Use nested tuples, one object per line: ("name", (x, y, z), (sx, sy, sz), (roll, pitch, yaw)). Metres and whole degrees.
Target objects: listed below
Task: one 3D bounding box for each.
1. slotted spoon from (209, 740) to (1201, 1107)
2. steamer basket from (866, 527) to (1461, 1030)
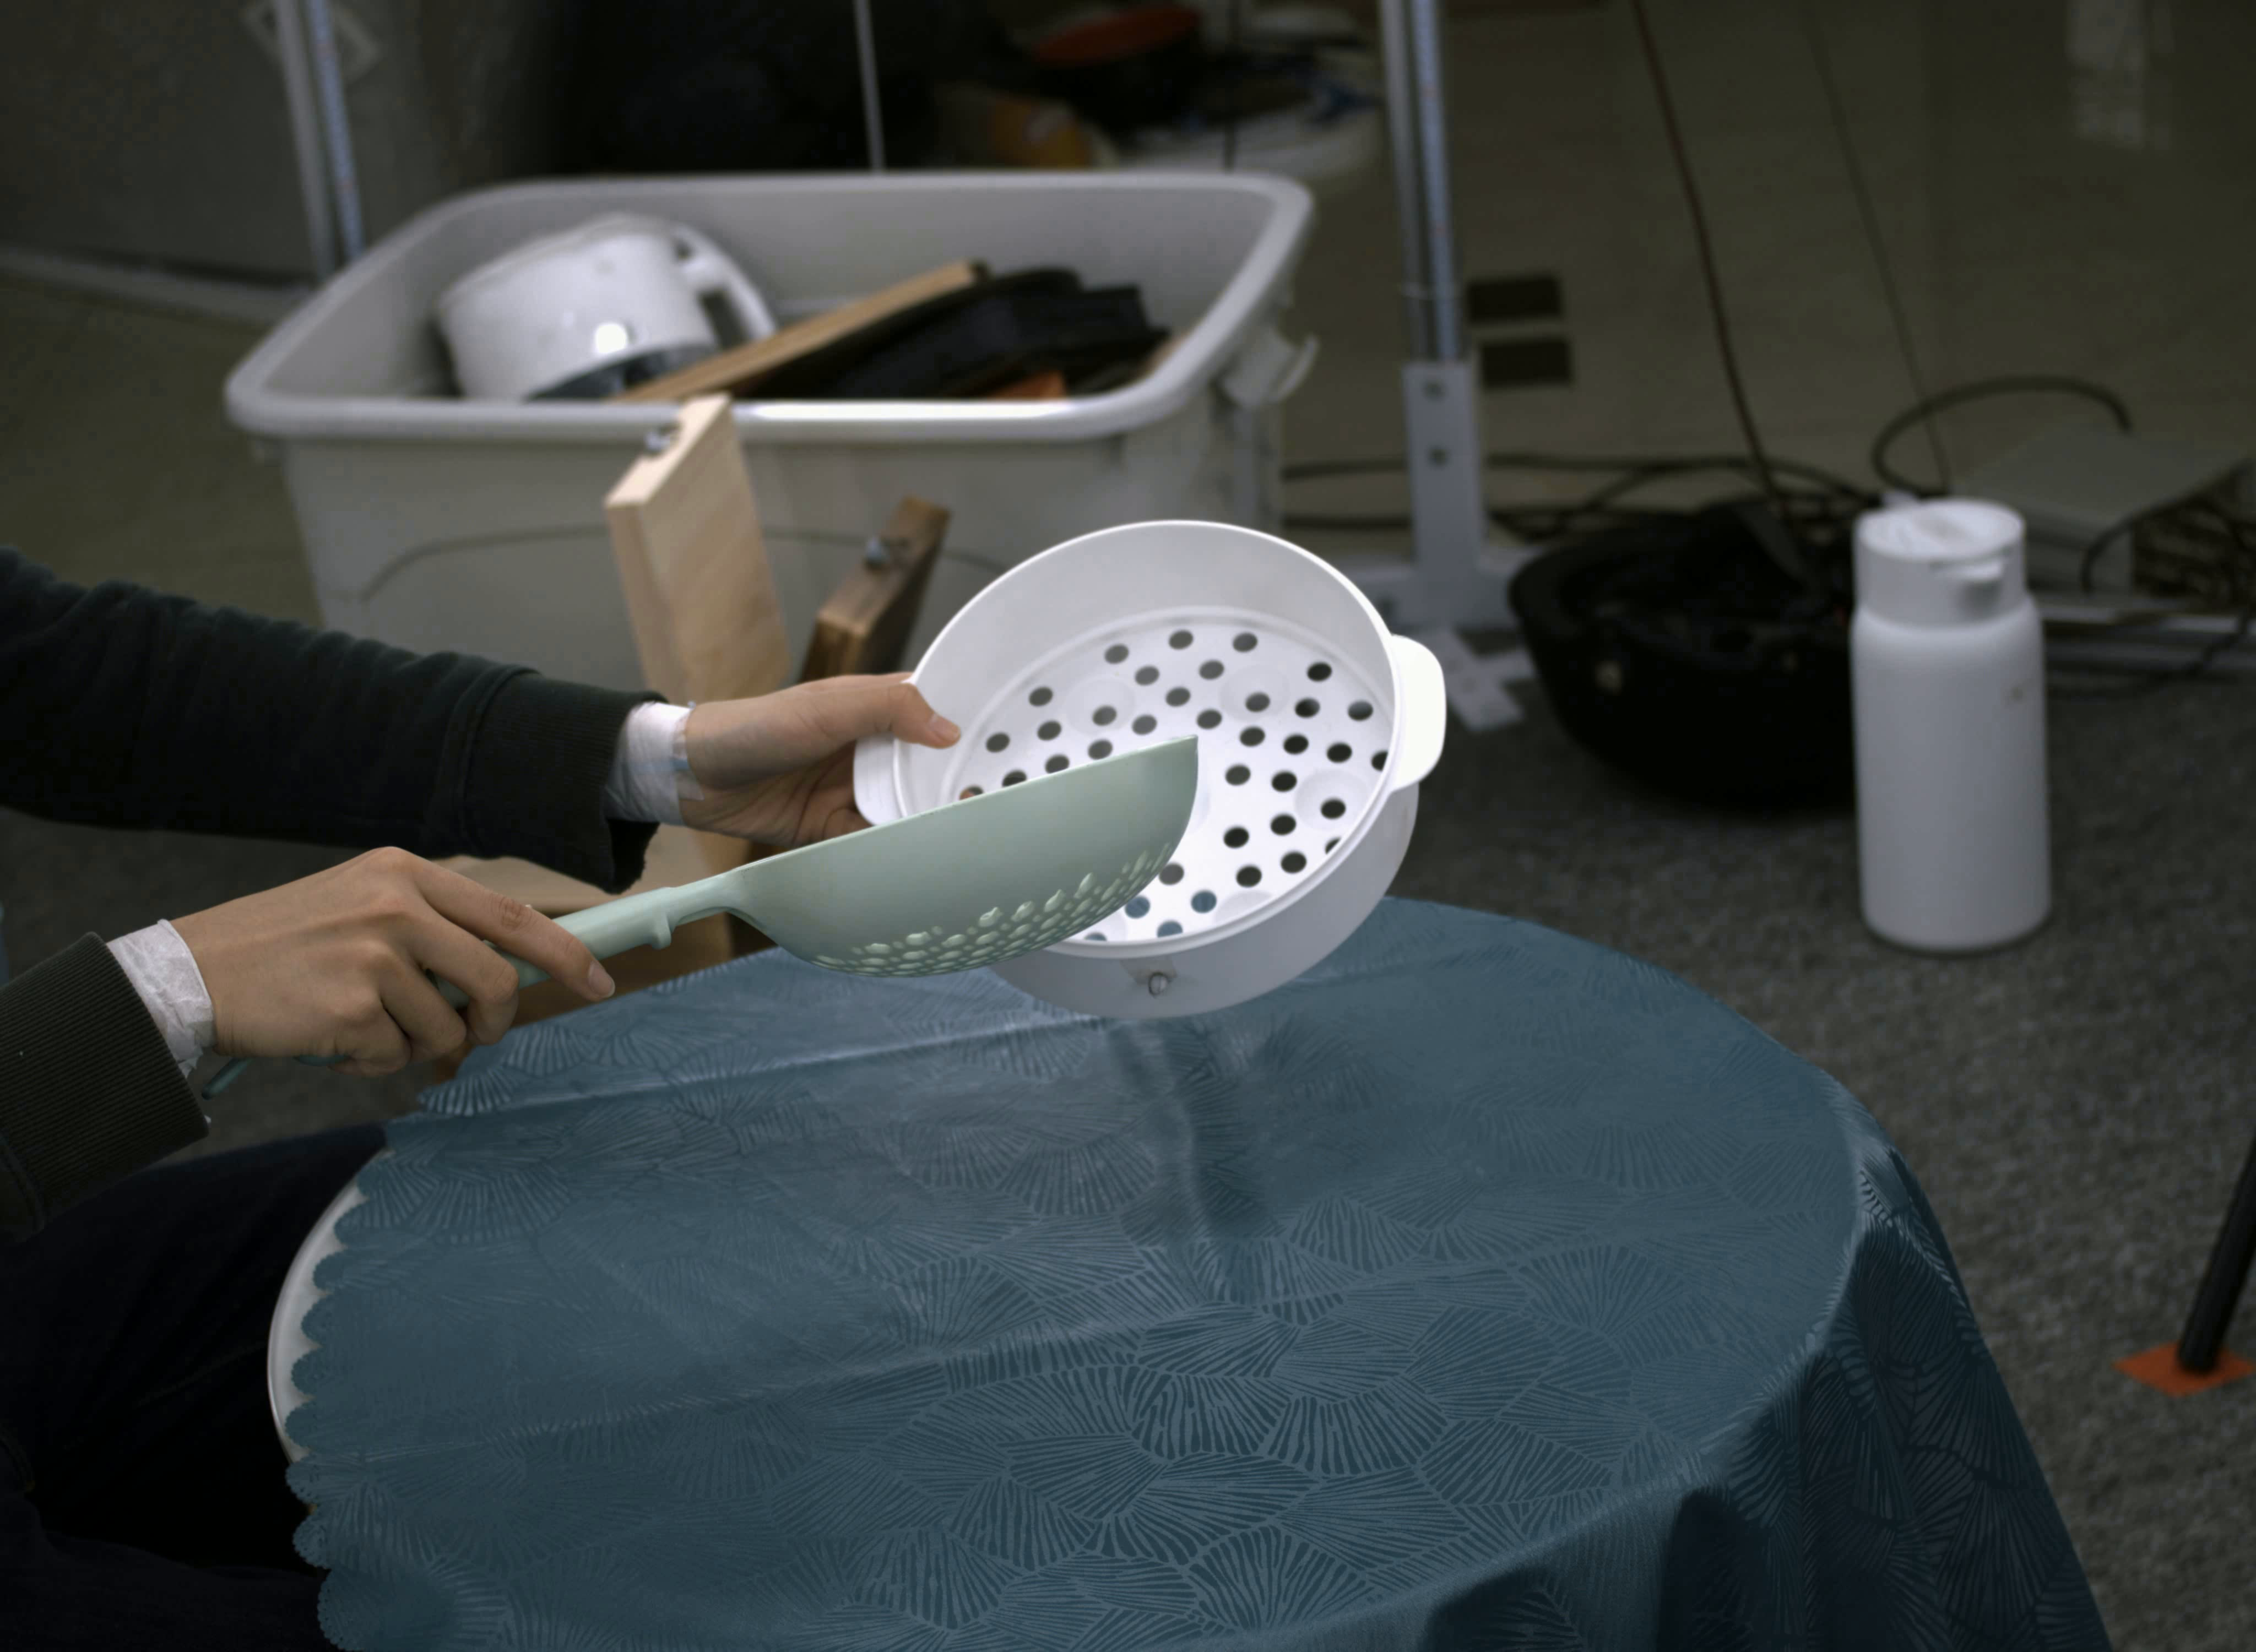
("slotted spoon", (-0.143, 0.032, 1.950), (0.358, 0.075, 0.169), (-8, -2, -16))
("steamer basket", (0.018, -0.018, 2.171), (0.230, 0.070, 0.198), (-6, 55, 10))
